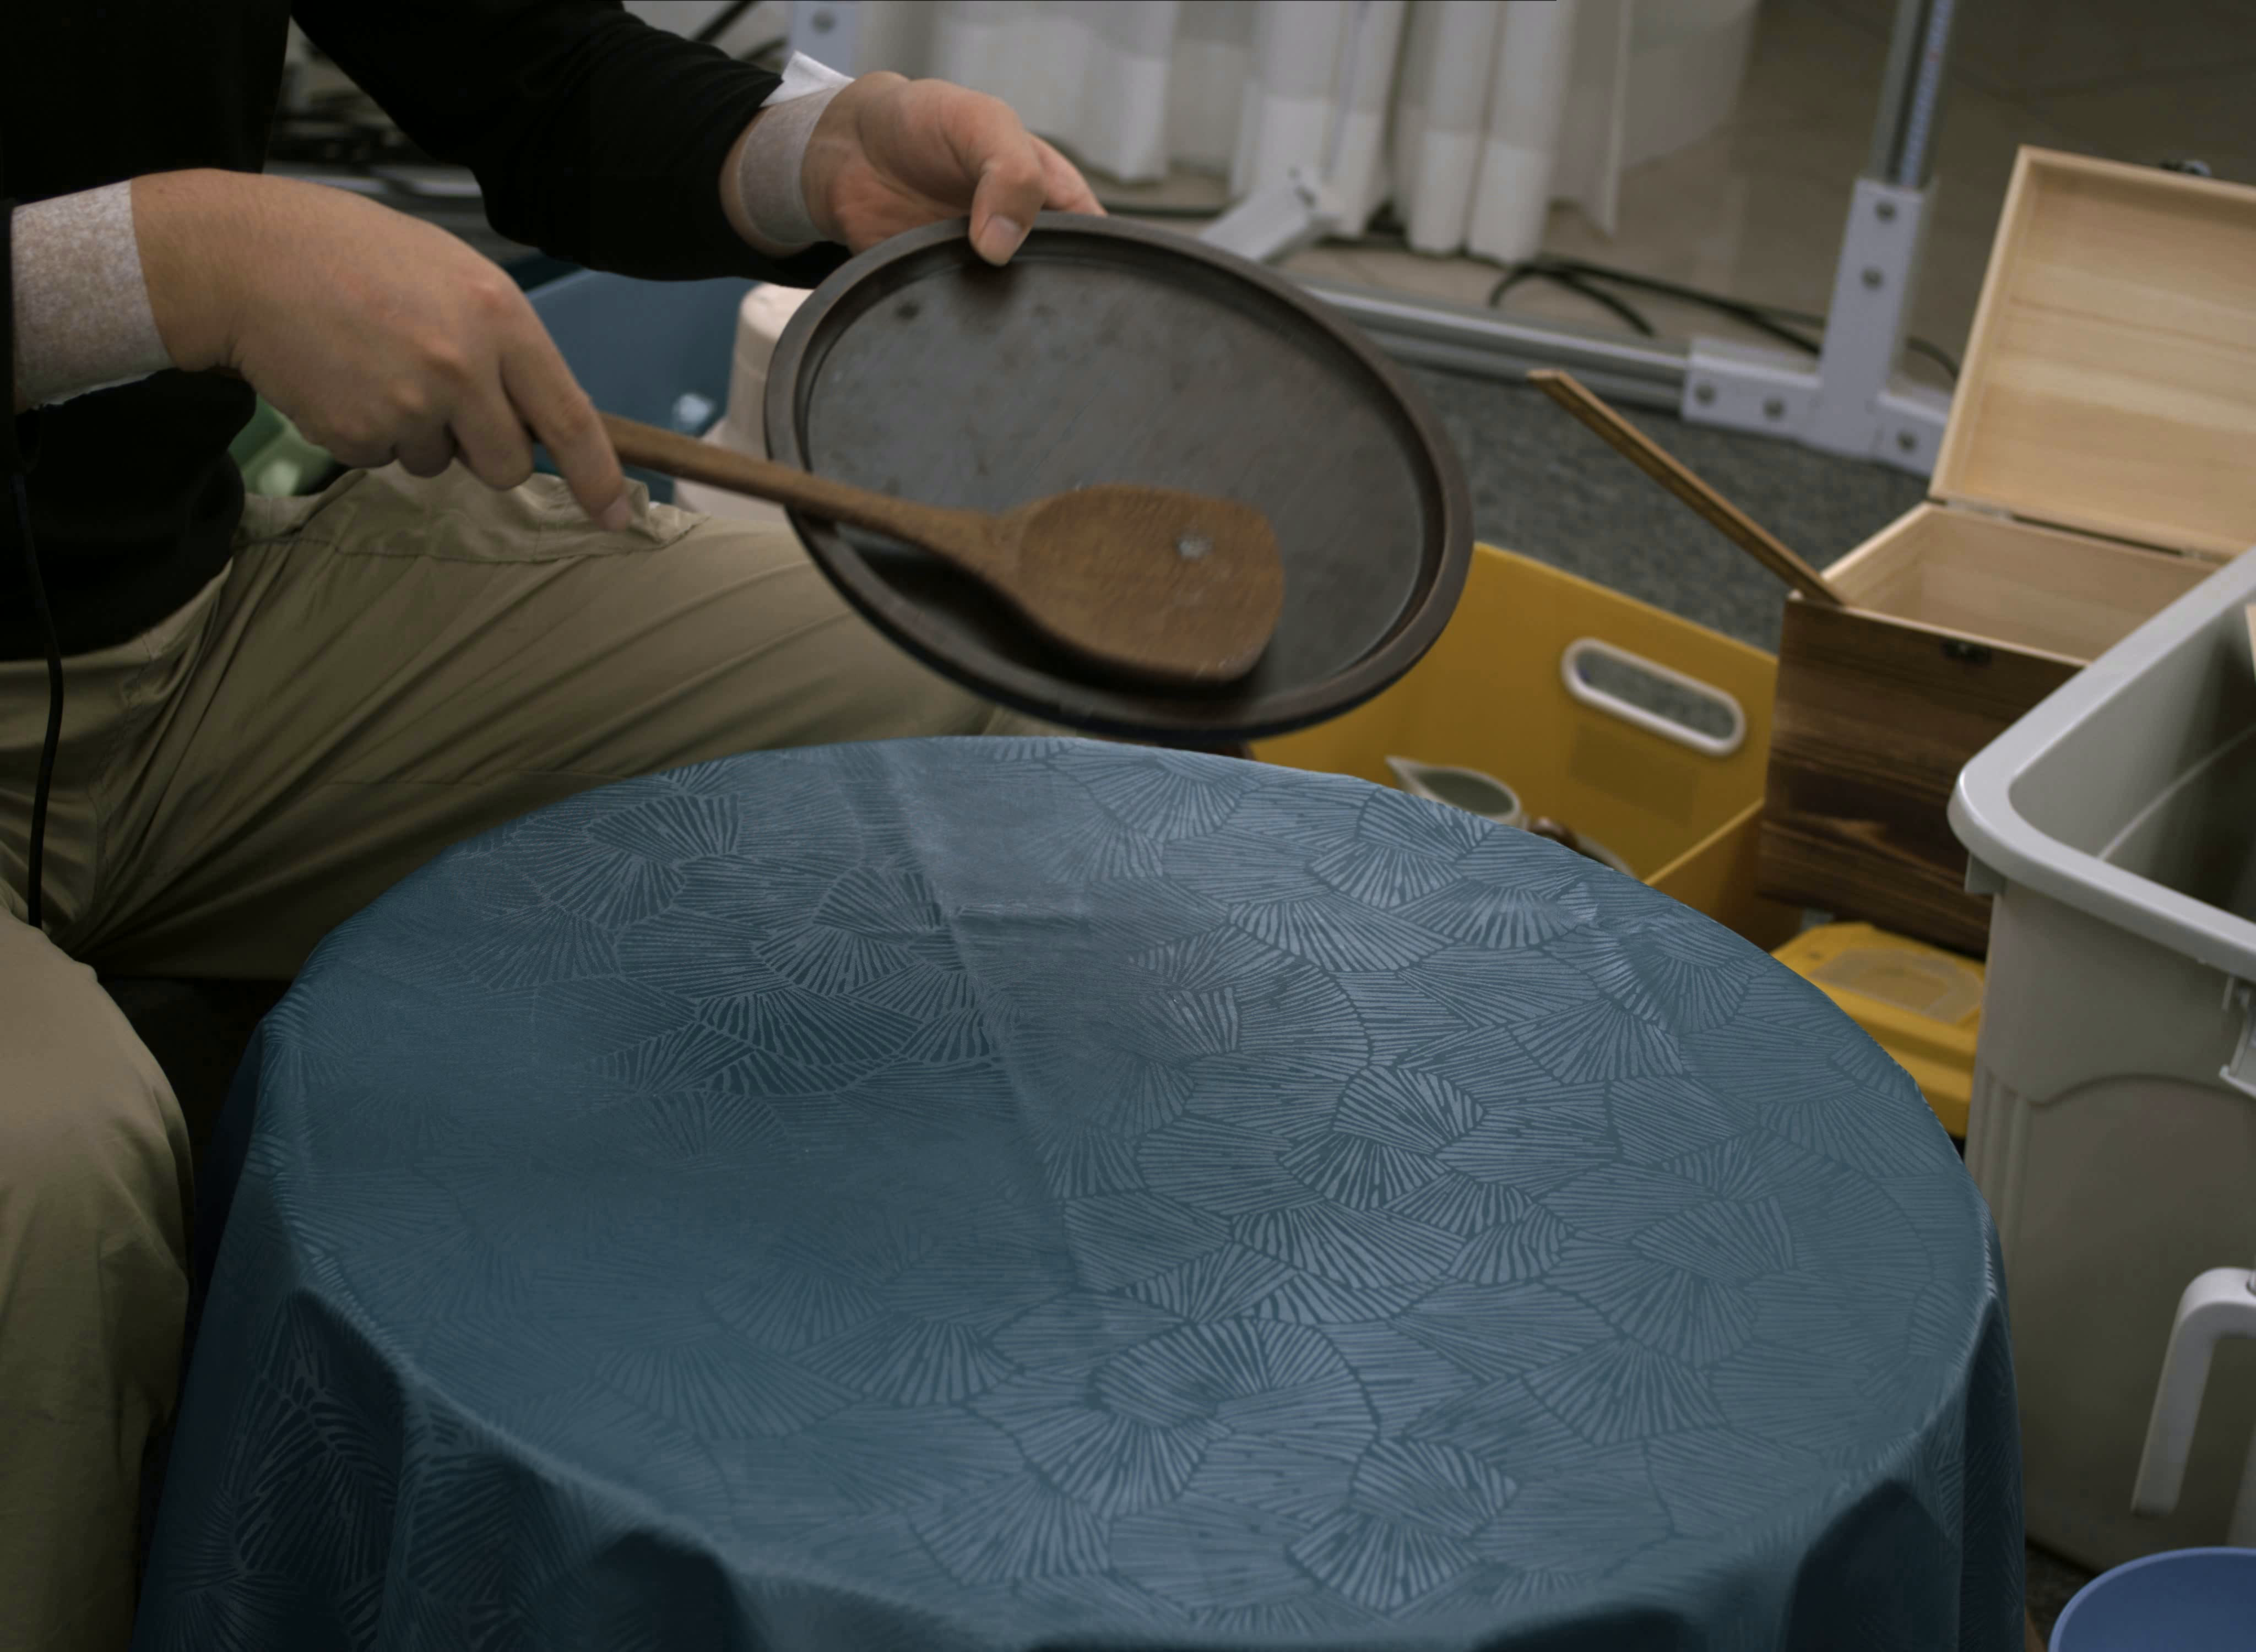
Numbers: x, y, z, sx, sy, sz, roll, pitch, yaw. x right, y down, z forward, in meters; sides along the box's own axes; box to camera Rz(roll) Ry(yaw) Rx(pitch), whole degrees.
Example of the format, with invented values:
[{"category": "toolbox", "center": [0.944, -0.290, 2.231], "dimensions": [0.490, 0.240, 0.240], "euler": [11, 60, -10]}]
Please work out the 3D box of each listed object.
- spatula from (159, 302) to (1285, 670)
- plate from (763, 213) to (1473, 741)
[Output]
[{"category": "spatula", "center": [-0.134, -0.121, 1.777], "dimensions": [0.384, 0.016, 0.097], "euler": [14, 42, -5]}, {"category": "plate", "center": [-0.004, -0.122, 1.841], "dimensions": [0.253, 0.029, 0.257], "euler": [10, 46, -10]}]
